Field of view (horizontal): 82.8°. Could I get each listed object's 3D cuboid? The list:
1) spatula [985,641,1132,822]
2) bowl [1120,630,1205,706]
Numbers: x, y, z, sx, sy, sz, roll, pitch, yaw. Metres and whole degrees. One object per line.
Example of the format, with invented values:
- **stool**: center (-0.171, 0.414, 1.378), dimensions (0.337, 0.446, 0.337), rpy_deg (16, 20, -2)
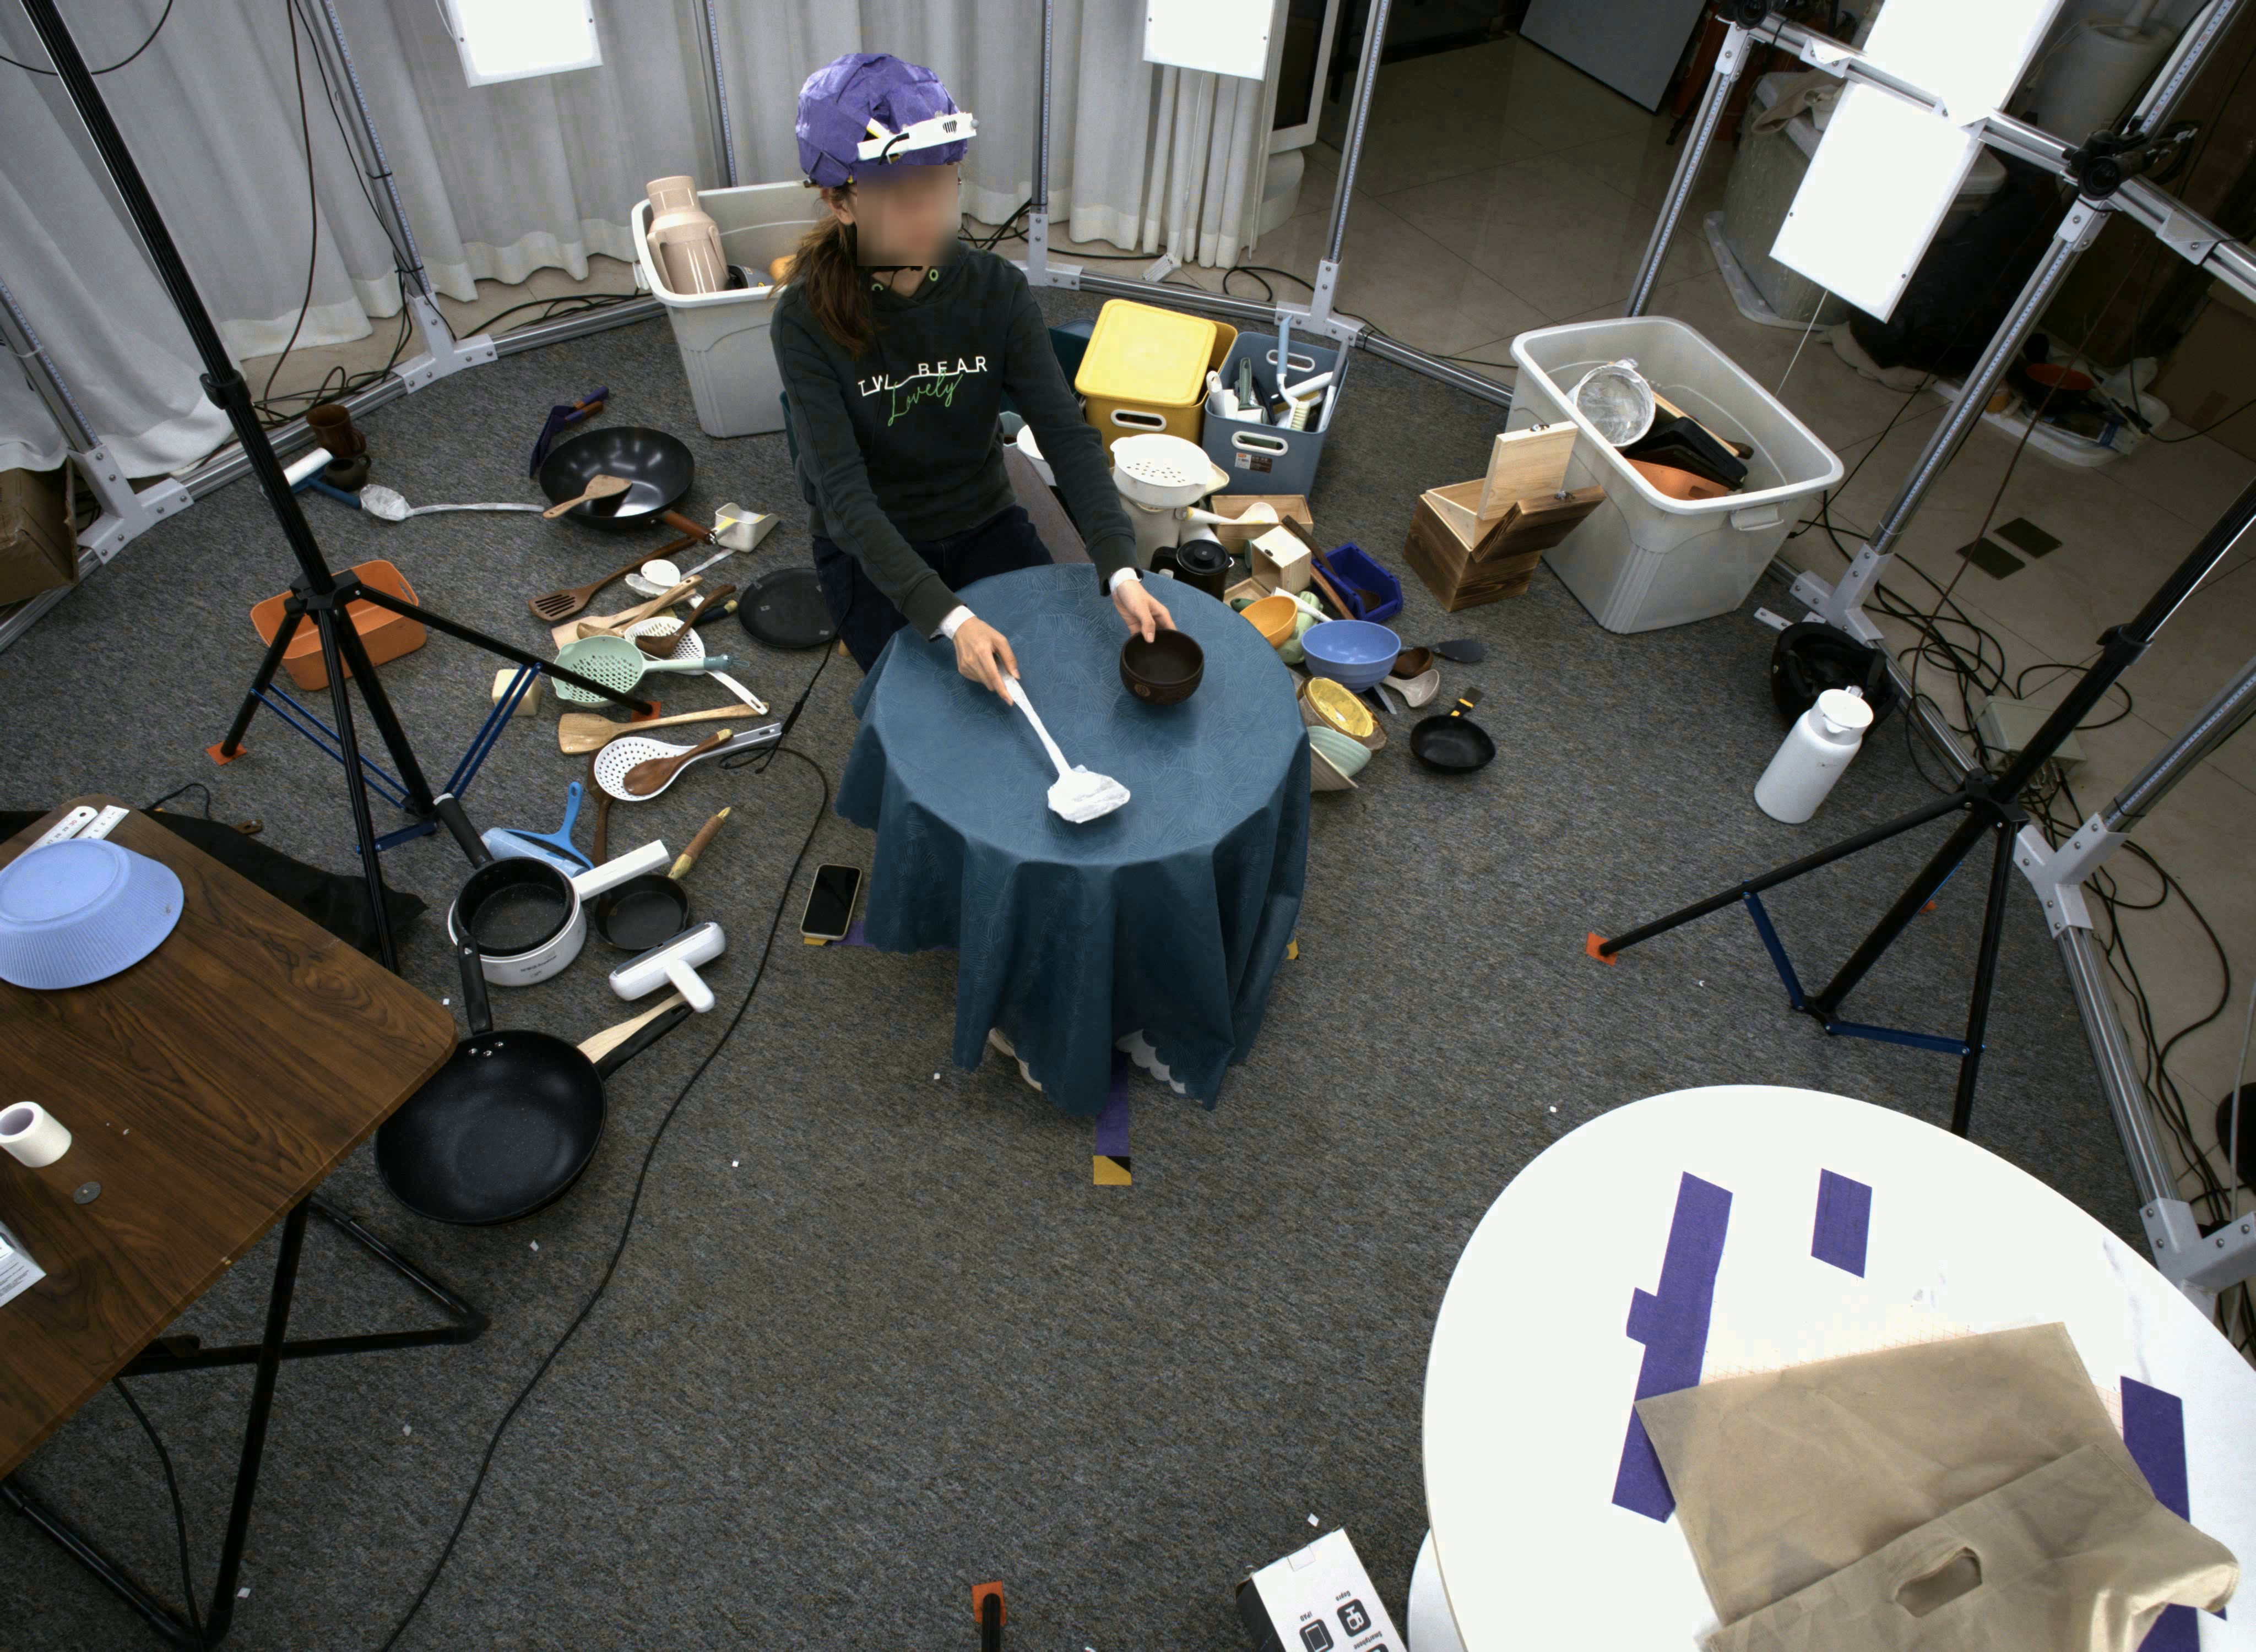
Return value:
- **spatula**: center (-0.116, -0.140, 1.747), dimensions (0.099, 0.044, 0.372), rpy_deg (-22, 59, -18)
- **bowl**: center (0.047, -0.215, 1.813), dimensions (0.118, 0.068, 0.121), rpy_deg (2, 47, -3)
